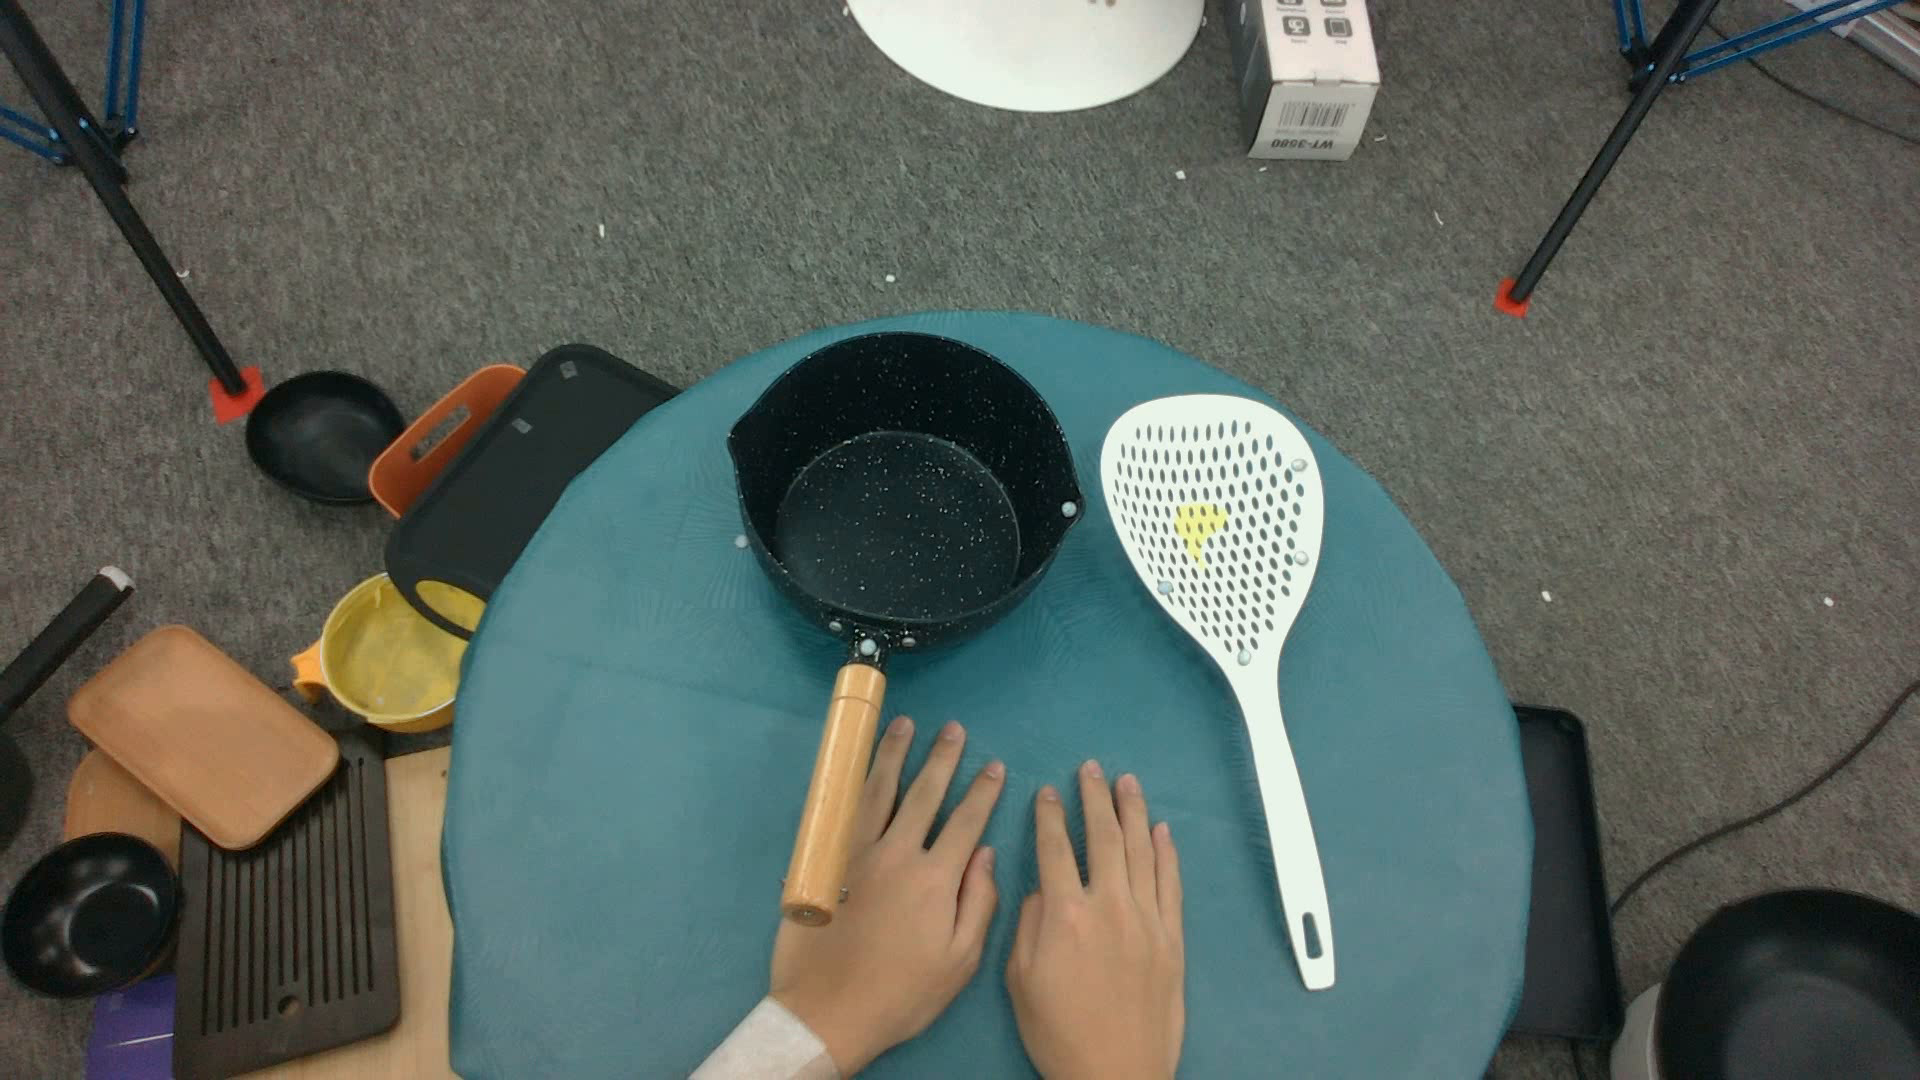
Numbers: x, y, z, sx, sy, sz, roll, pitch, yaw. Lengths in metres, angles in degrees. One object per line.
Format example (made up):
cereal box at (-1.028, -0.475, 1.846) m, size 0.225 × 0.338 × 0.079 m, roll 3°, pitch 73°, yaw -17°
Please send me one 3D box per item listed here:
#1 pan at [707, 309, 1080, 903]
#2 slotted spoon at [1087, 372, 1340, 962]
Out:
pan at (-0.049, 0.034, 0.735) m, size 0.207 × 0.108 × 0.344 m, roll 10°, pitch 61°, yaw -3°
slotted spoon at (0.159, 0.060, 0.783) m, size 0.137 × 0.050 × 0.349 m, roll -5°, pitch 62°, yaw -11°
